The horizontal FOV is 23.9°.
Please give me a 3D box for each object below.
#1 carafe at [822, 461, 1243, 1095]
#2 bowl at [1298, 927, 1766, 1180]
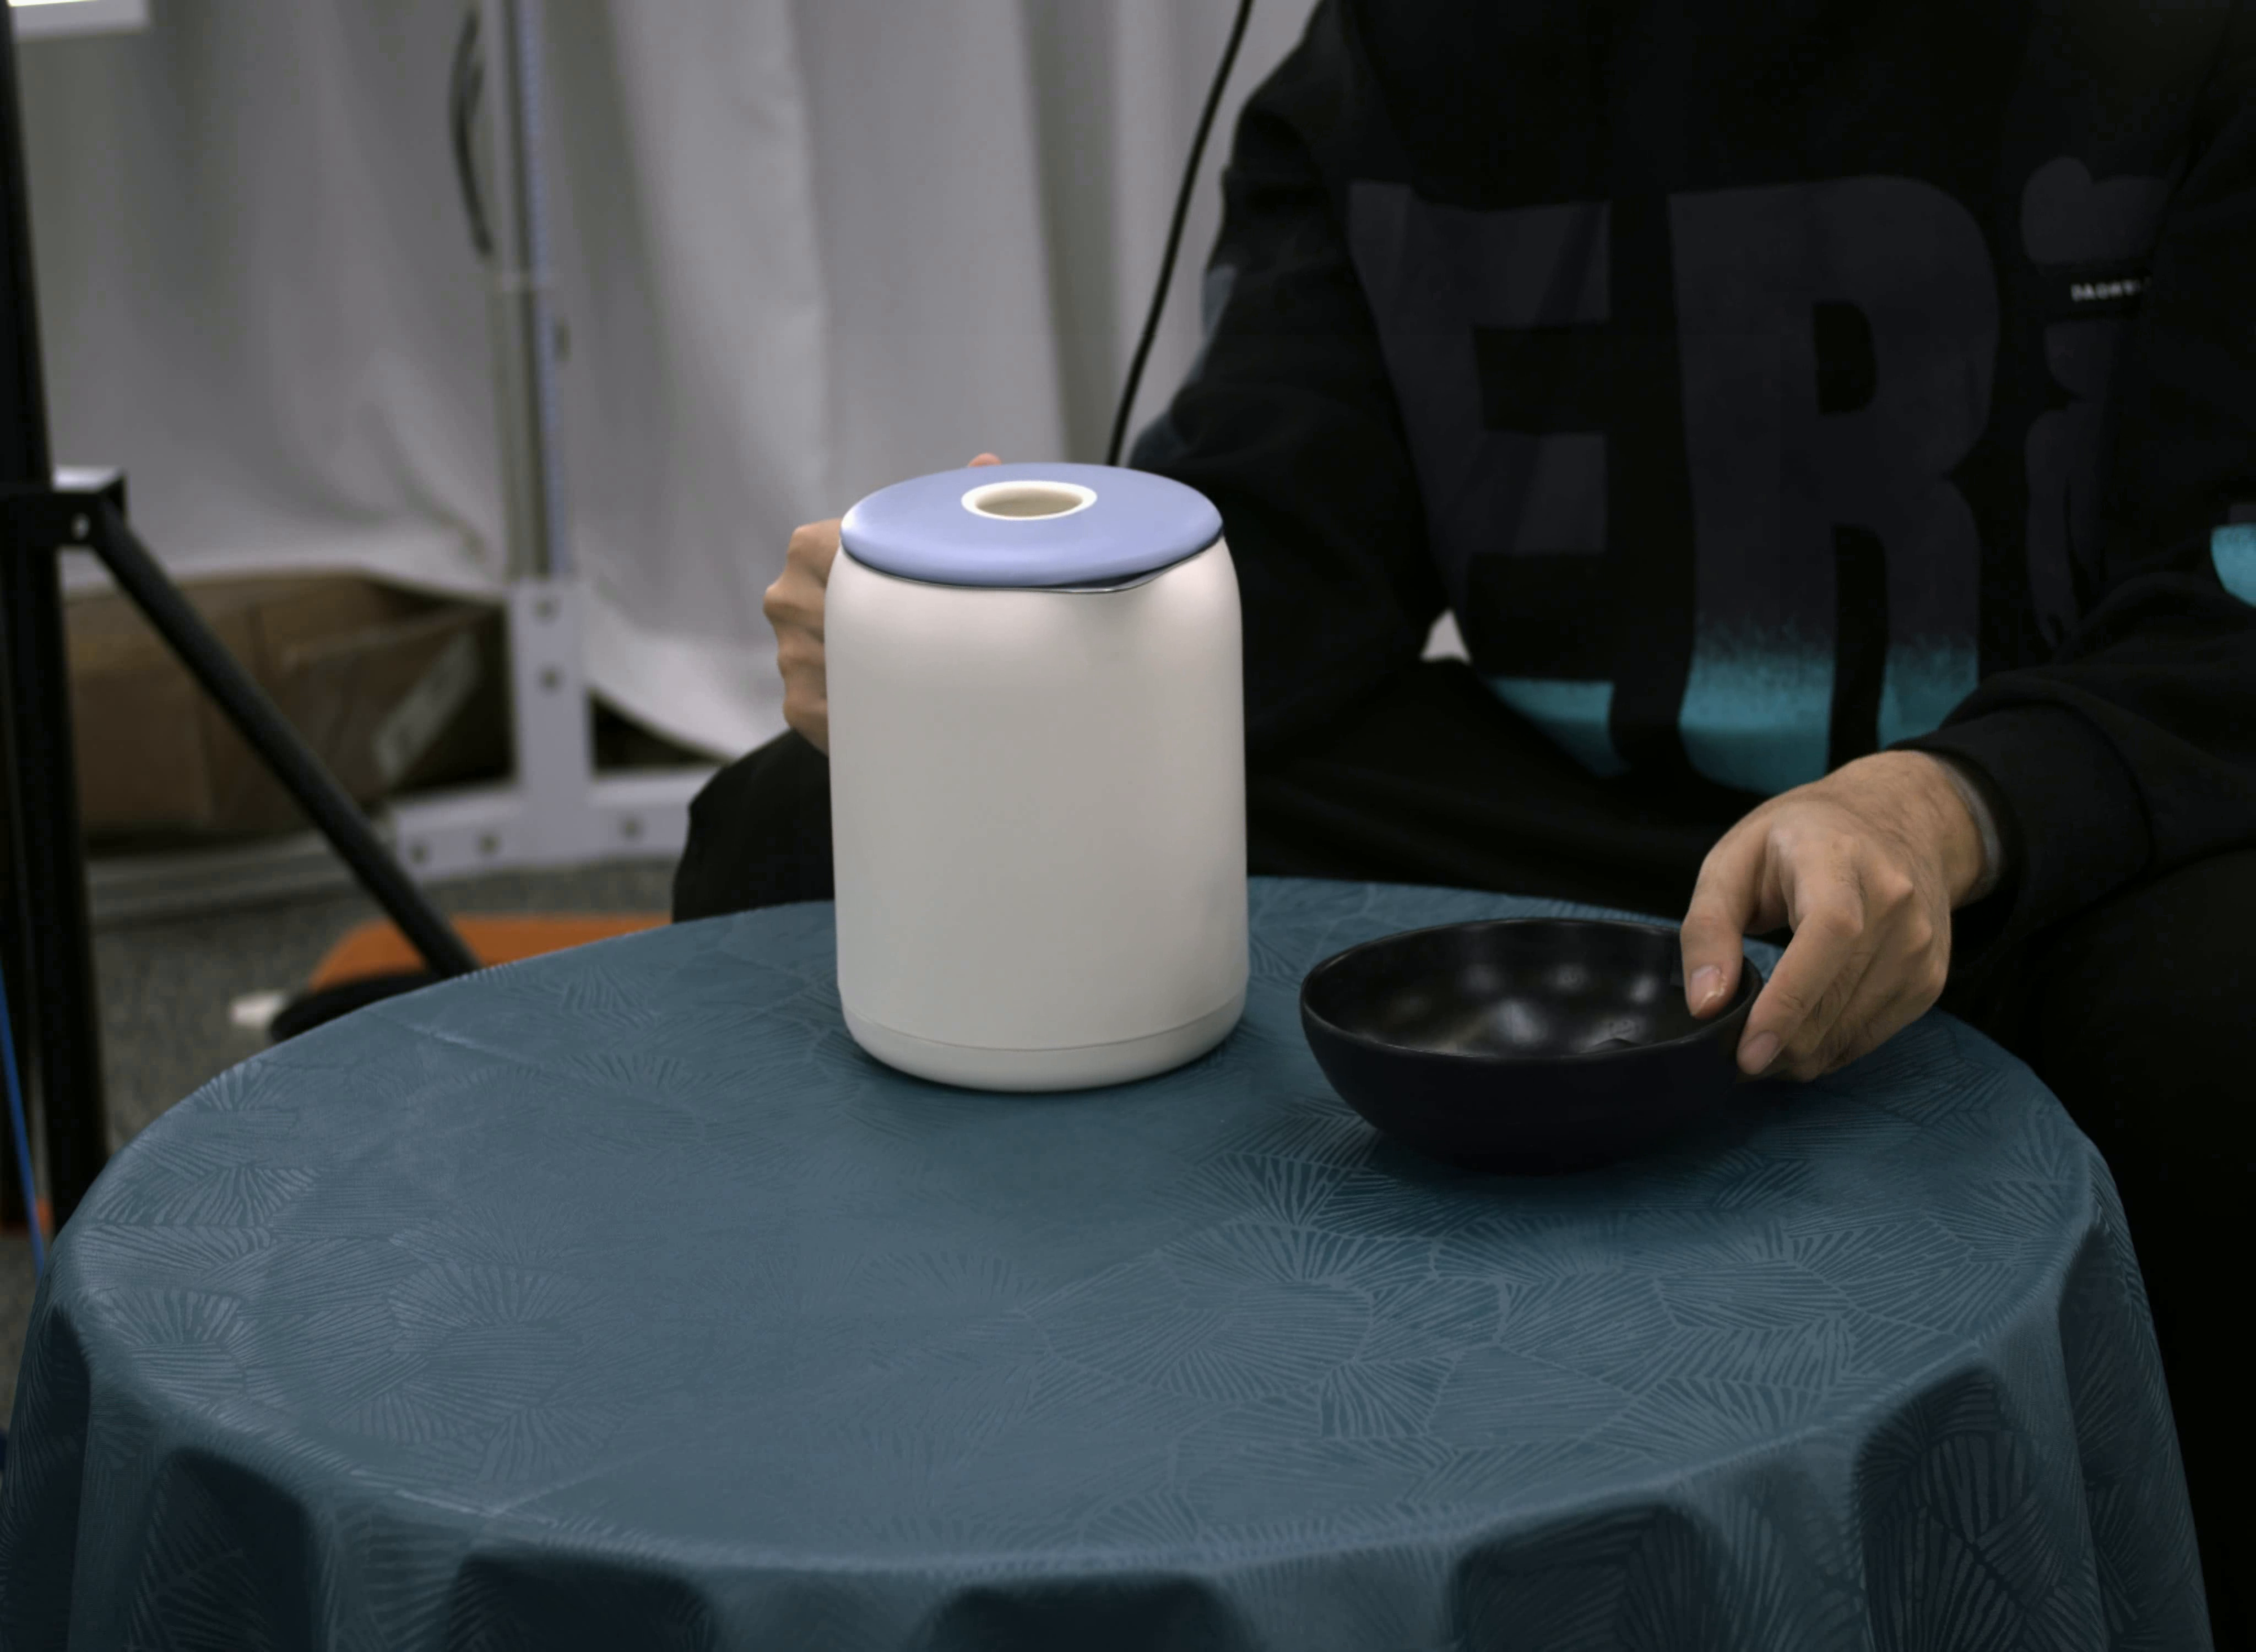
[{"bbox_3d":[-0.040,-0.022,1.699,0.129,0.182,0.195,-8,17,-23],"label":"carafe"},{"bbox_3d":[0.121,0.072,1.576,0.139,0.050,0.140,-3,14,-1],"label":"bowl"}]
